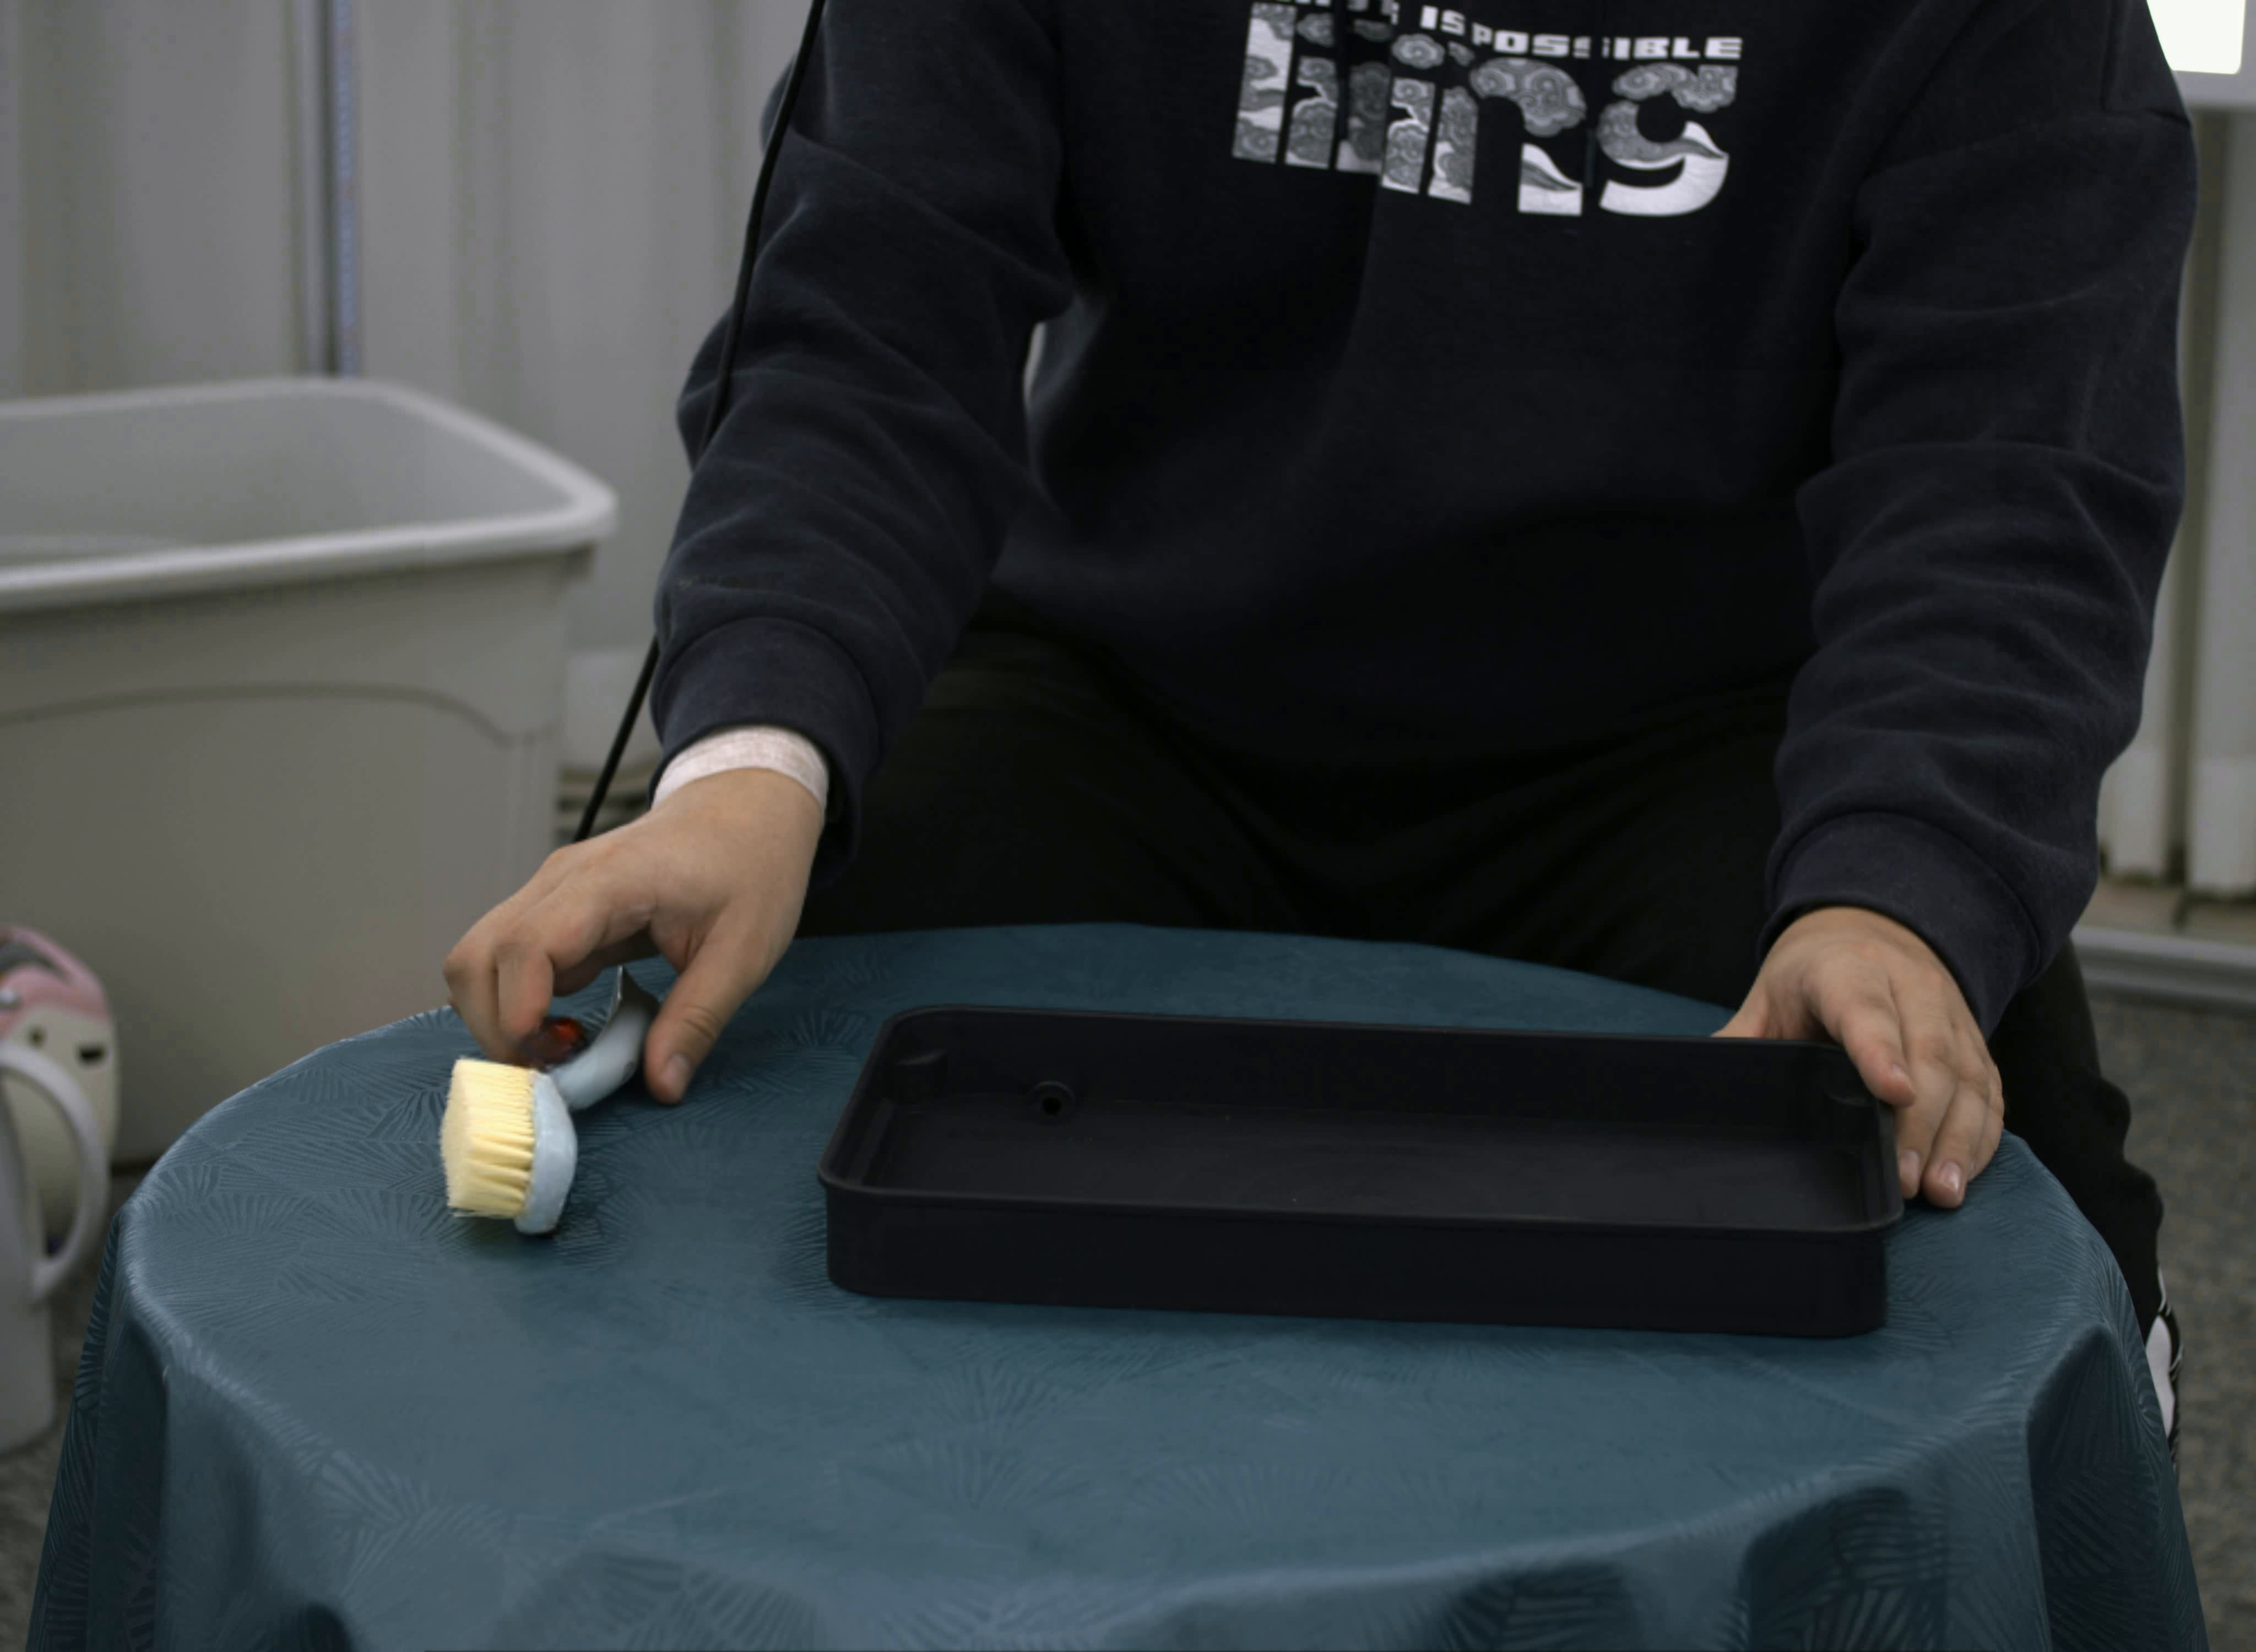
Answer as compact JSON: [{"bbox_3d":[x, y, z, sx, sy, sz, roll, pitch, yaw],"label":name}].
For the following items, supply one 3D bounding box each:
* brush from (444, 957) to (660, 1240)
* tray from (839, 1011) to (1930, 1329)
[{"bbox_3d":[-0.183,0.079,1.668,0.049,0.038,0.228,13,15,0],"label":"brush"},{"bbox_3d":[0.079,0.102,1.600,0.316,0.037,0.183,1,15,3],"label":"tray"}]
